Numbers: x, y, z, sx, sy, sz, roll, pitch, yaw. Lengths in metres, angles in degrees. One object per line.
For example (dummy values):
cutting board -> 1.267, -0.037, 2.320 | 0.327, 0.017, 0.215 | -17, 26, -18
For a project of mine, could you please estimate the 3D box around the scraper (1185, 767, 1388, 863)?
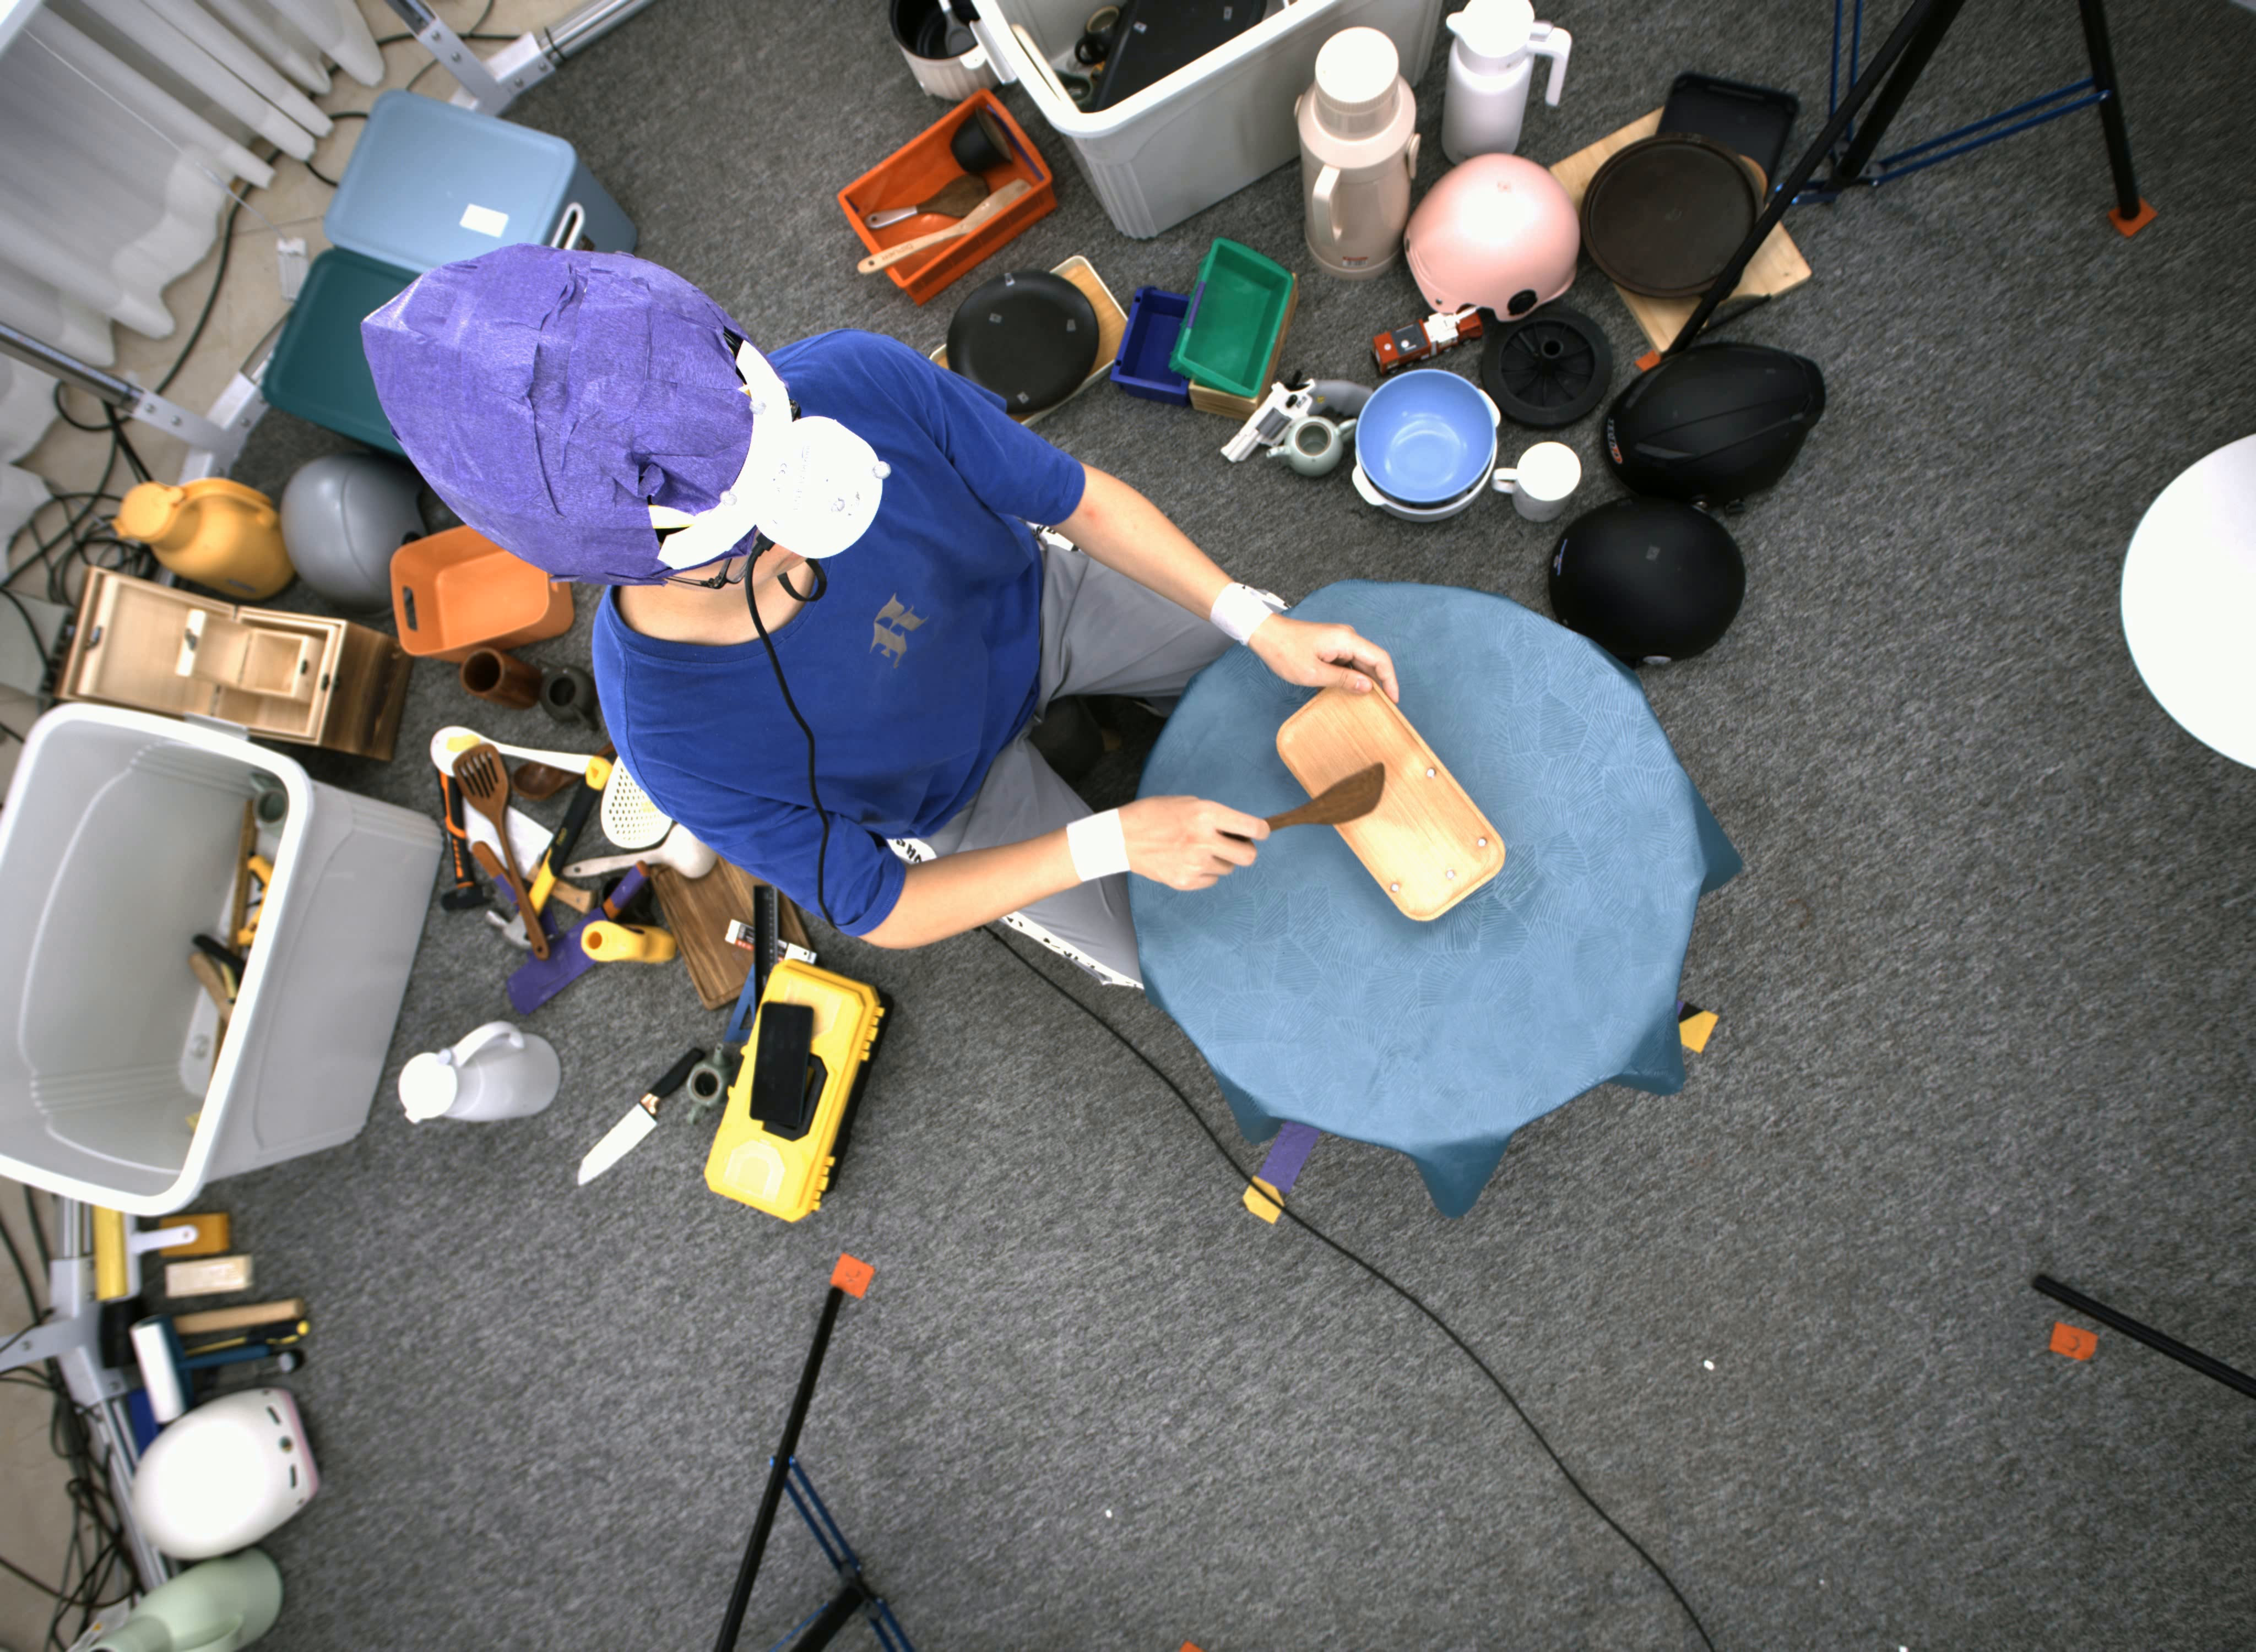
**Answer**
scraper -> 0.154, -0.004, 1.328 | 0.211, 0.077, 0.010 | -18, 56, -5

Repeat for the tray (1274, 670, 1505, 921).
tray -> 0.260, -0.032, 1.378 | 0.133, 0.022, 0.250 | -39, 84, 25
